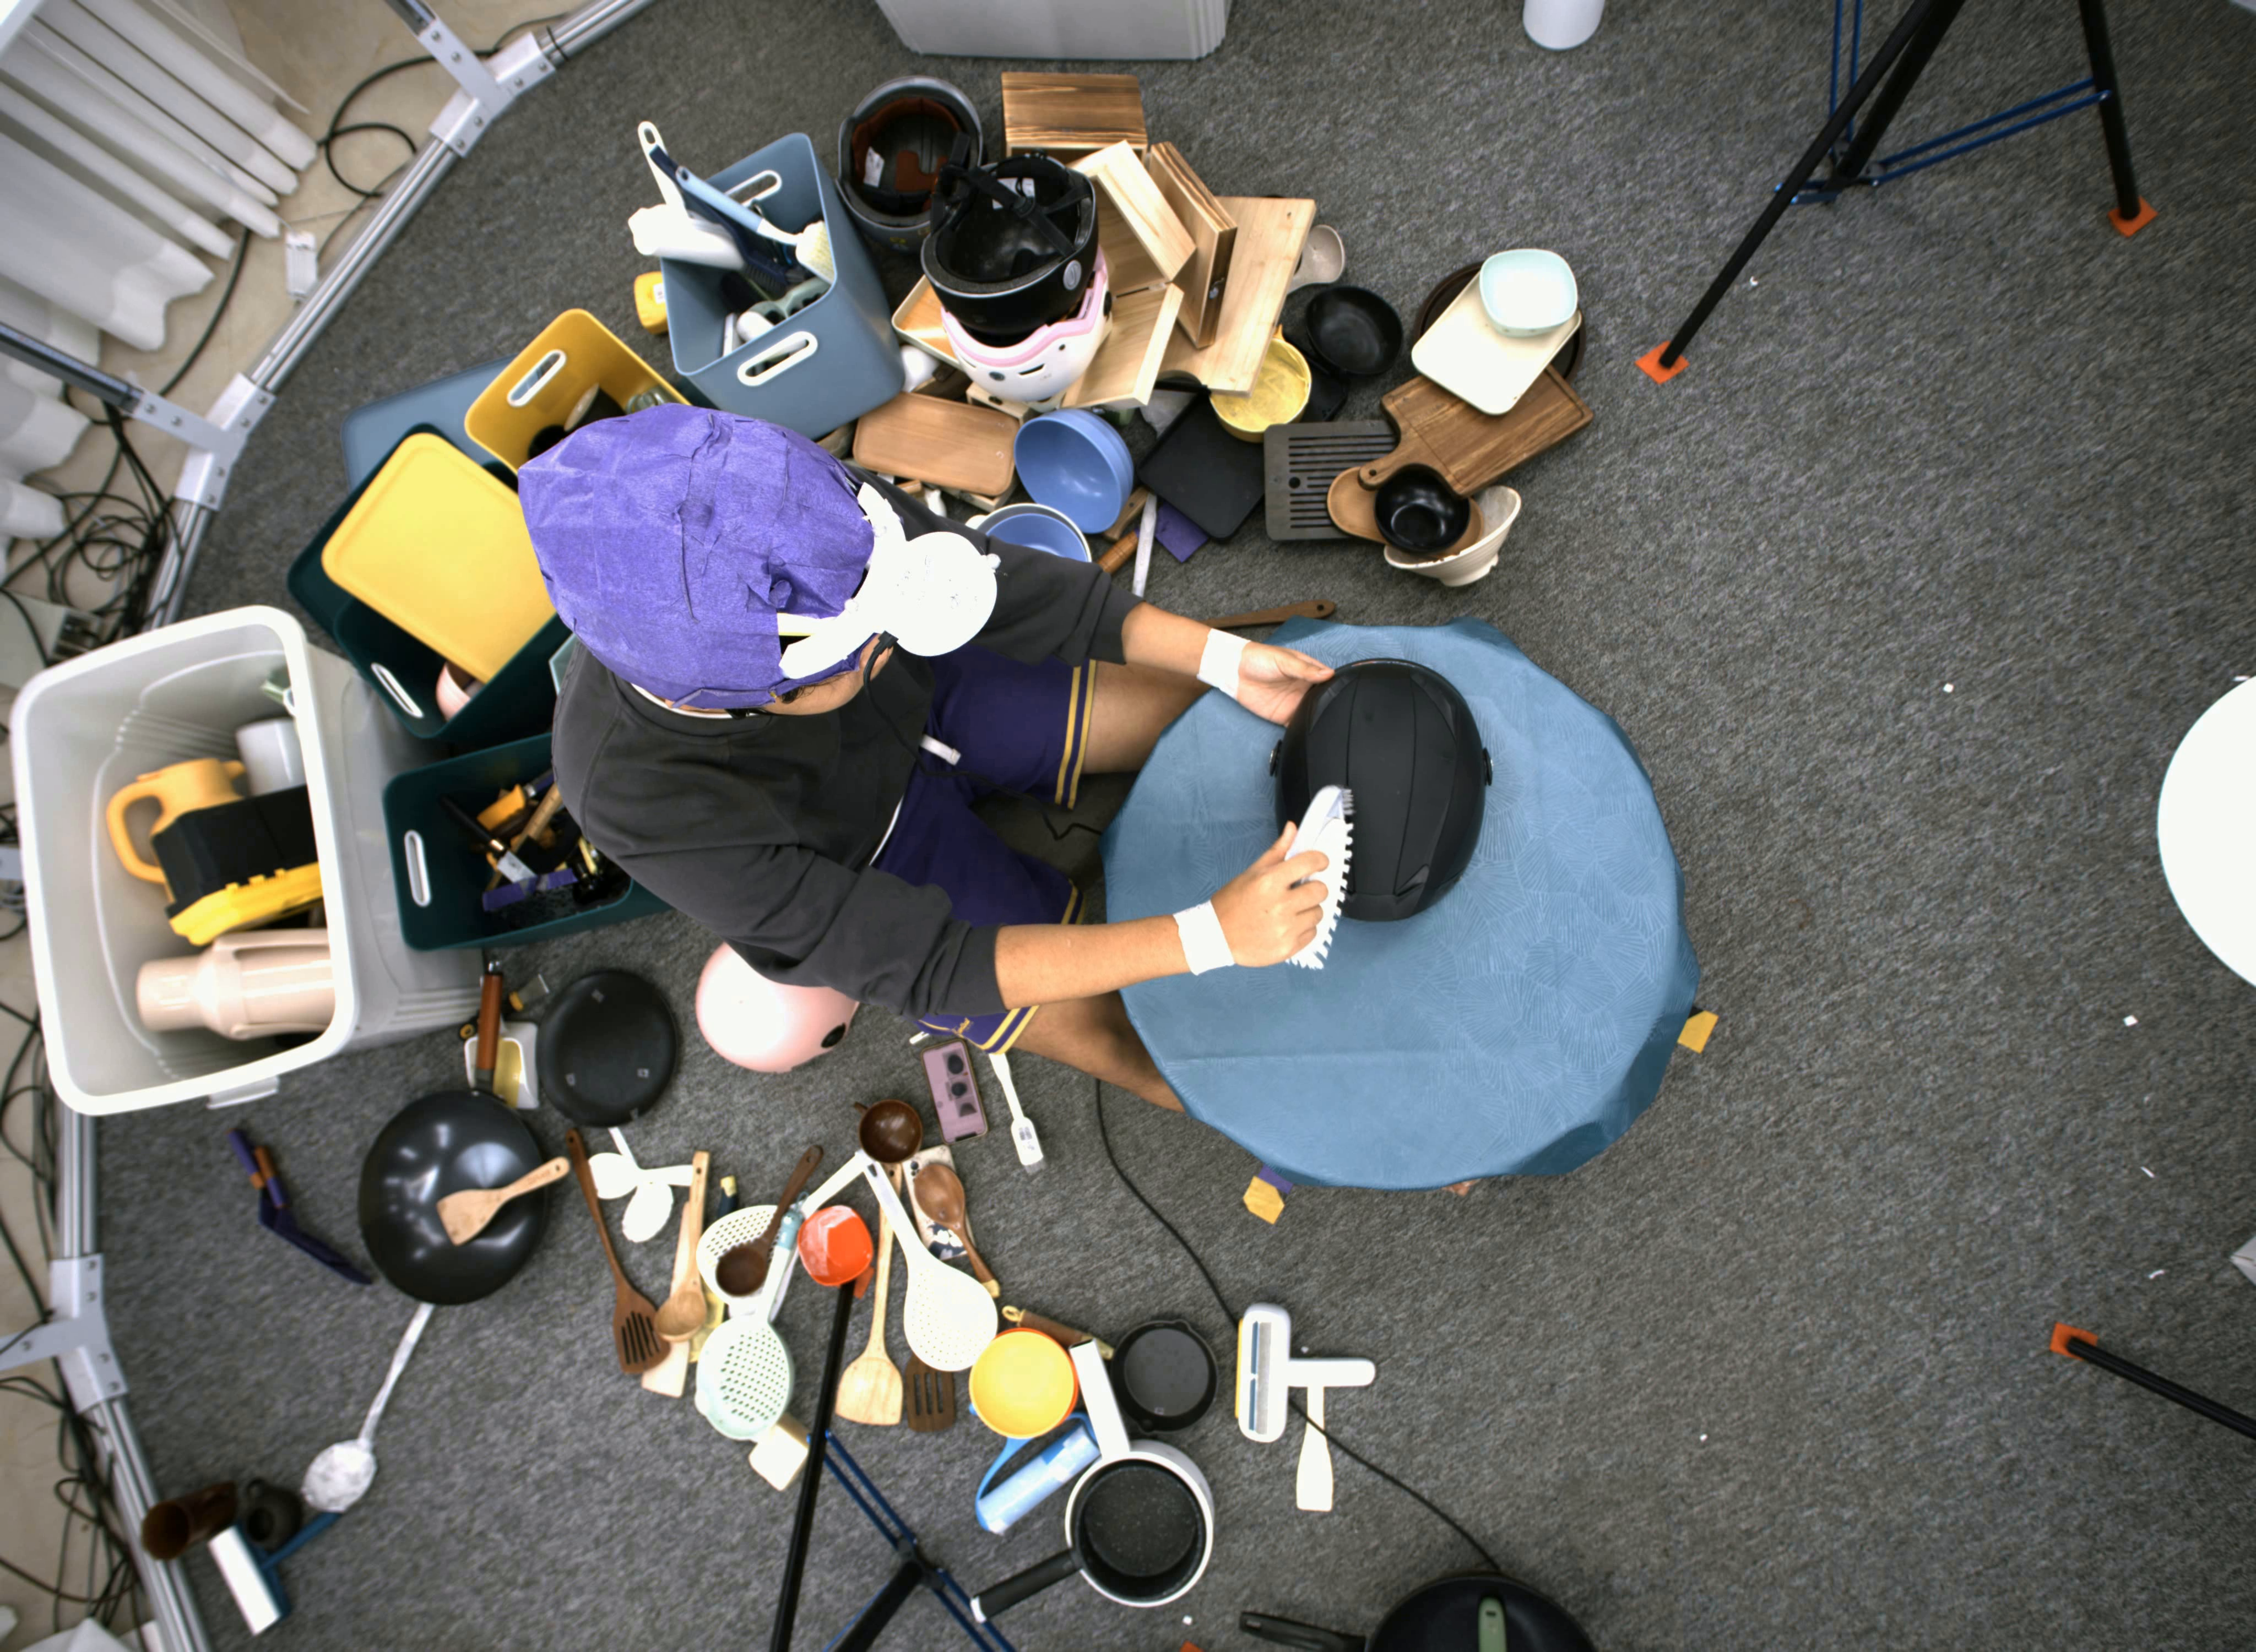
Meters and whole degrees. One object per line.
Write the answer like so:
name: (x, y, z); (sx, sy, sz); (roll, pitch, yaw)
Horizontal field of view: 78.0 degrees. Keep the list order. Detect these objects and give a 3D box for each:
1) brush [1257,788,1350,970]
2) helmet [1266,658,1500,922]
brush: (0.166, 0.039, 1.274); (0.061, 0.095, 0.174); (17, 83, 21)
helmet: (0.256, -0.041, 1.388); (0.247, 0.172, 0.277); (5, 91, 10)
